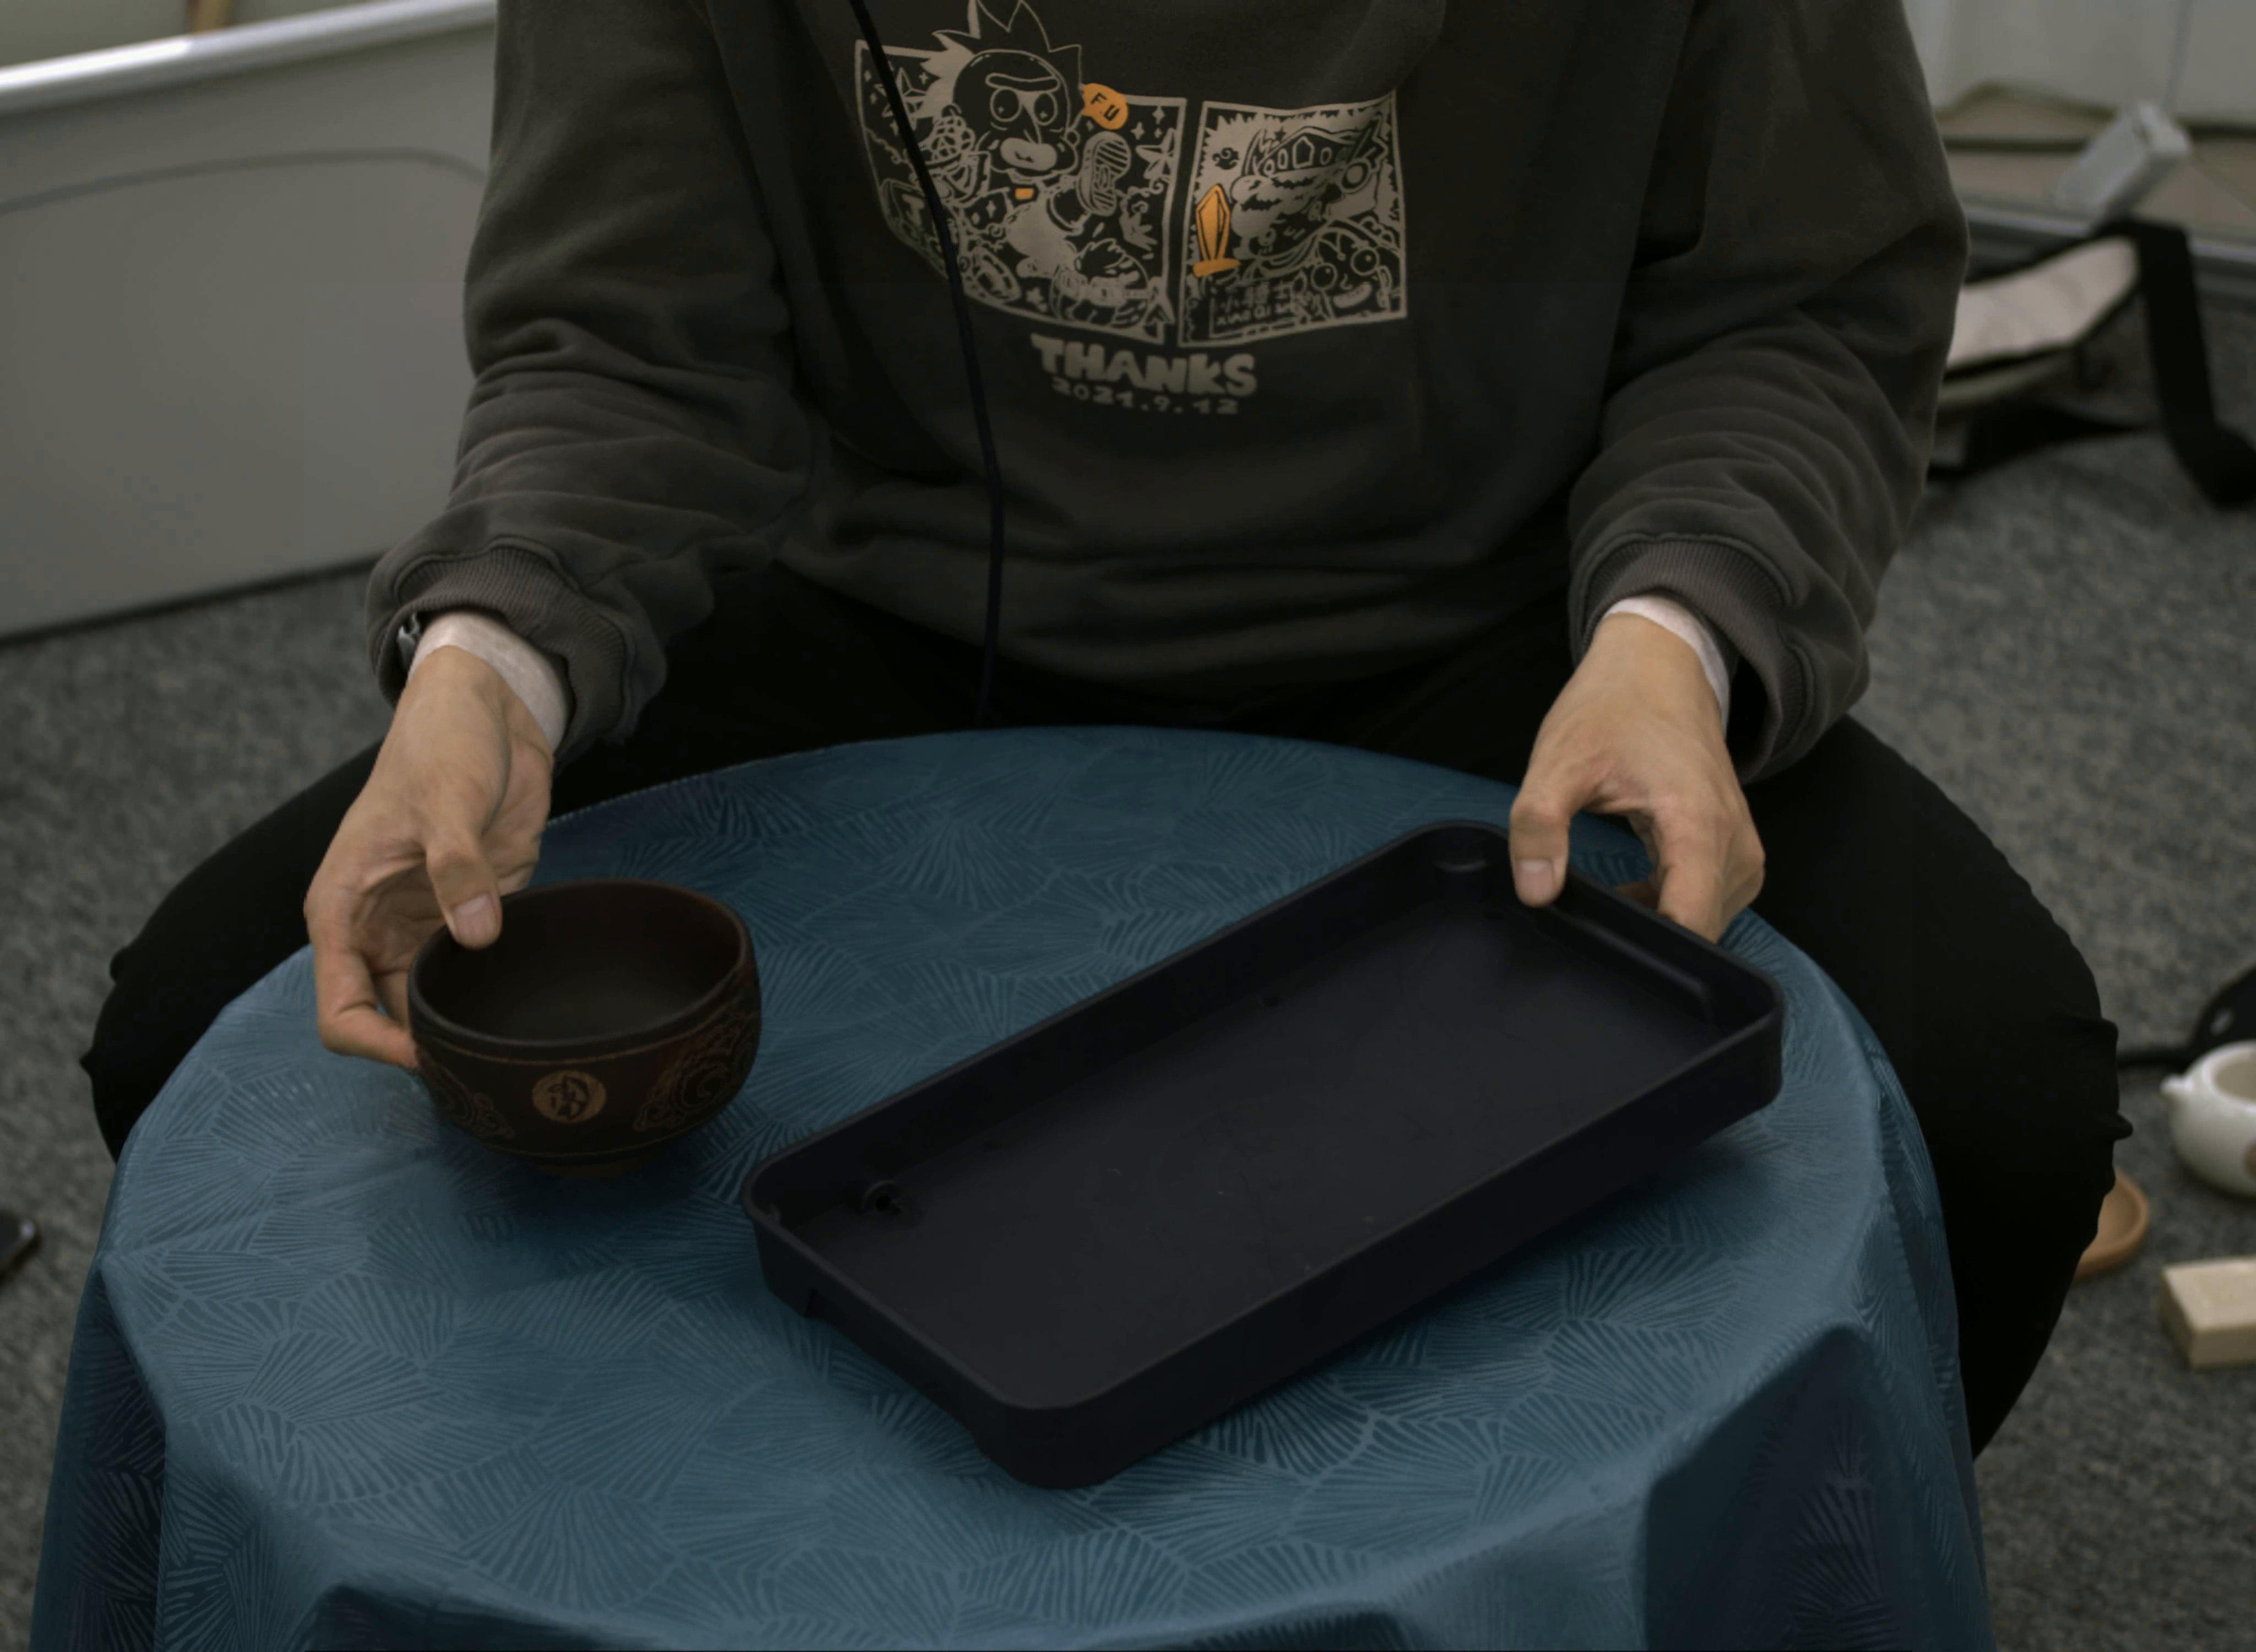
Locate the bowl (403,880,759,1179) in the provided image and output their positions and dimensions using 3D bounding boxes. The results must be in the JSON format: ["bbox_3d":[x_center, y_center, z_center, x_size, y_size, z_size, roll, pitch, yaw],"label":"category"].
[{"bbox_3d":[-0.180,0.075,1.875,0.117,0.069,0.120,-3,25,2],"label":"bowl"}]

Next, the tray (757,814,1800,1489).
[{"bbox_3d":[0.052,0.099,1.833,0.321,0.036,0.184,-27,35,-29],"label":"tray"}]
